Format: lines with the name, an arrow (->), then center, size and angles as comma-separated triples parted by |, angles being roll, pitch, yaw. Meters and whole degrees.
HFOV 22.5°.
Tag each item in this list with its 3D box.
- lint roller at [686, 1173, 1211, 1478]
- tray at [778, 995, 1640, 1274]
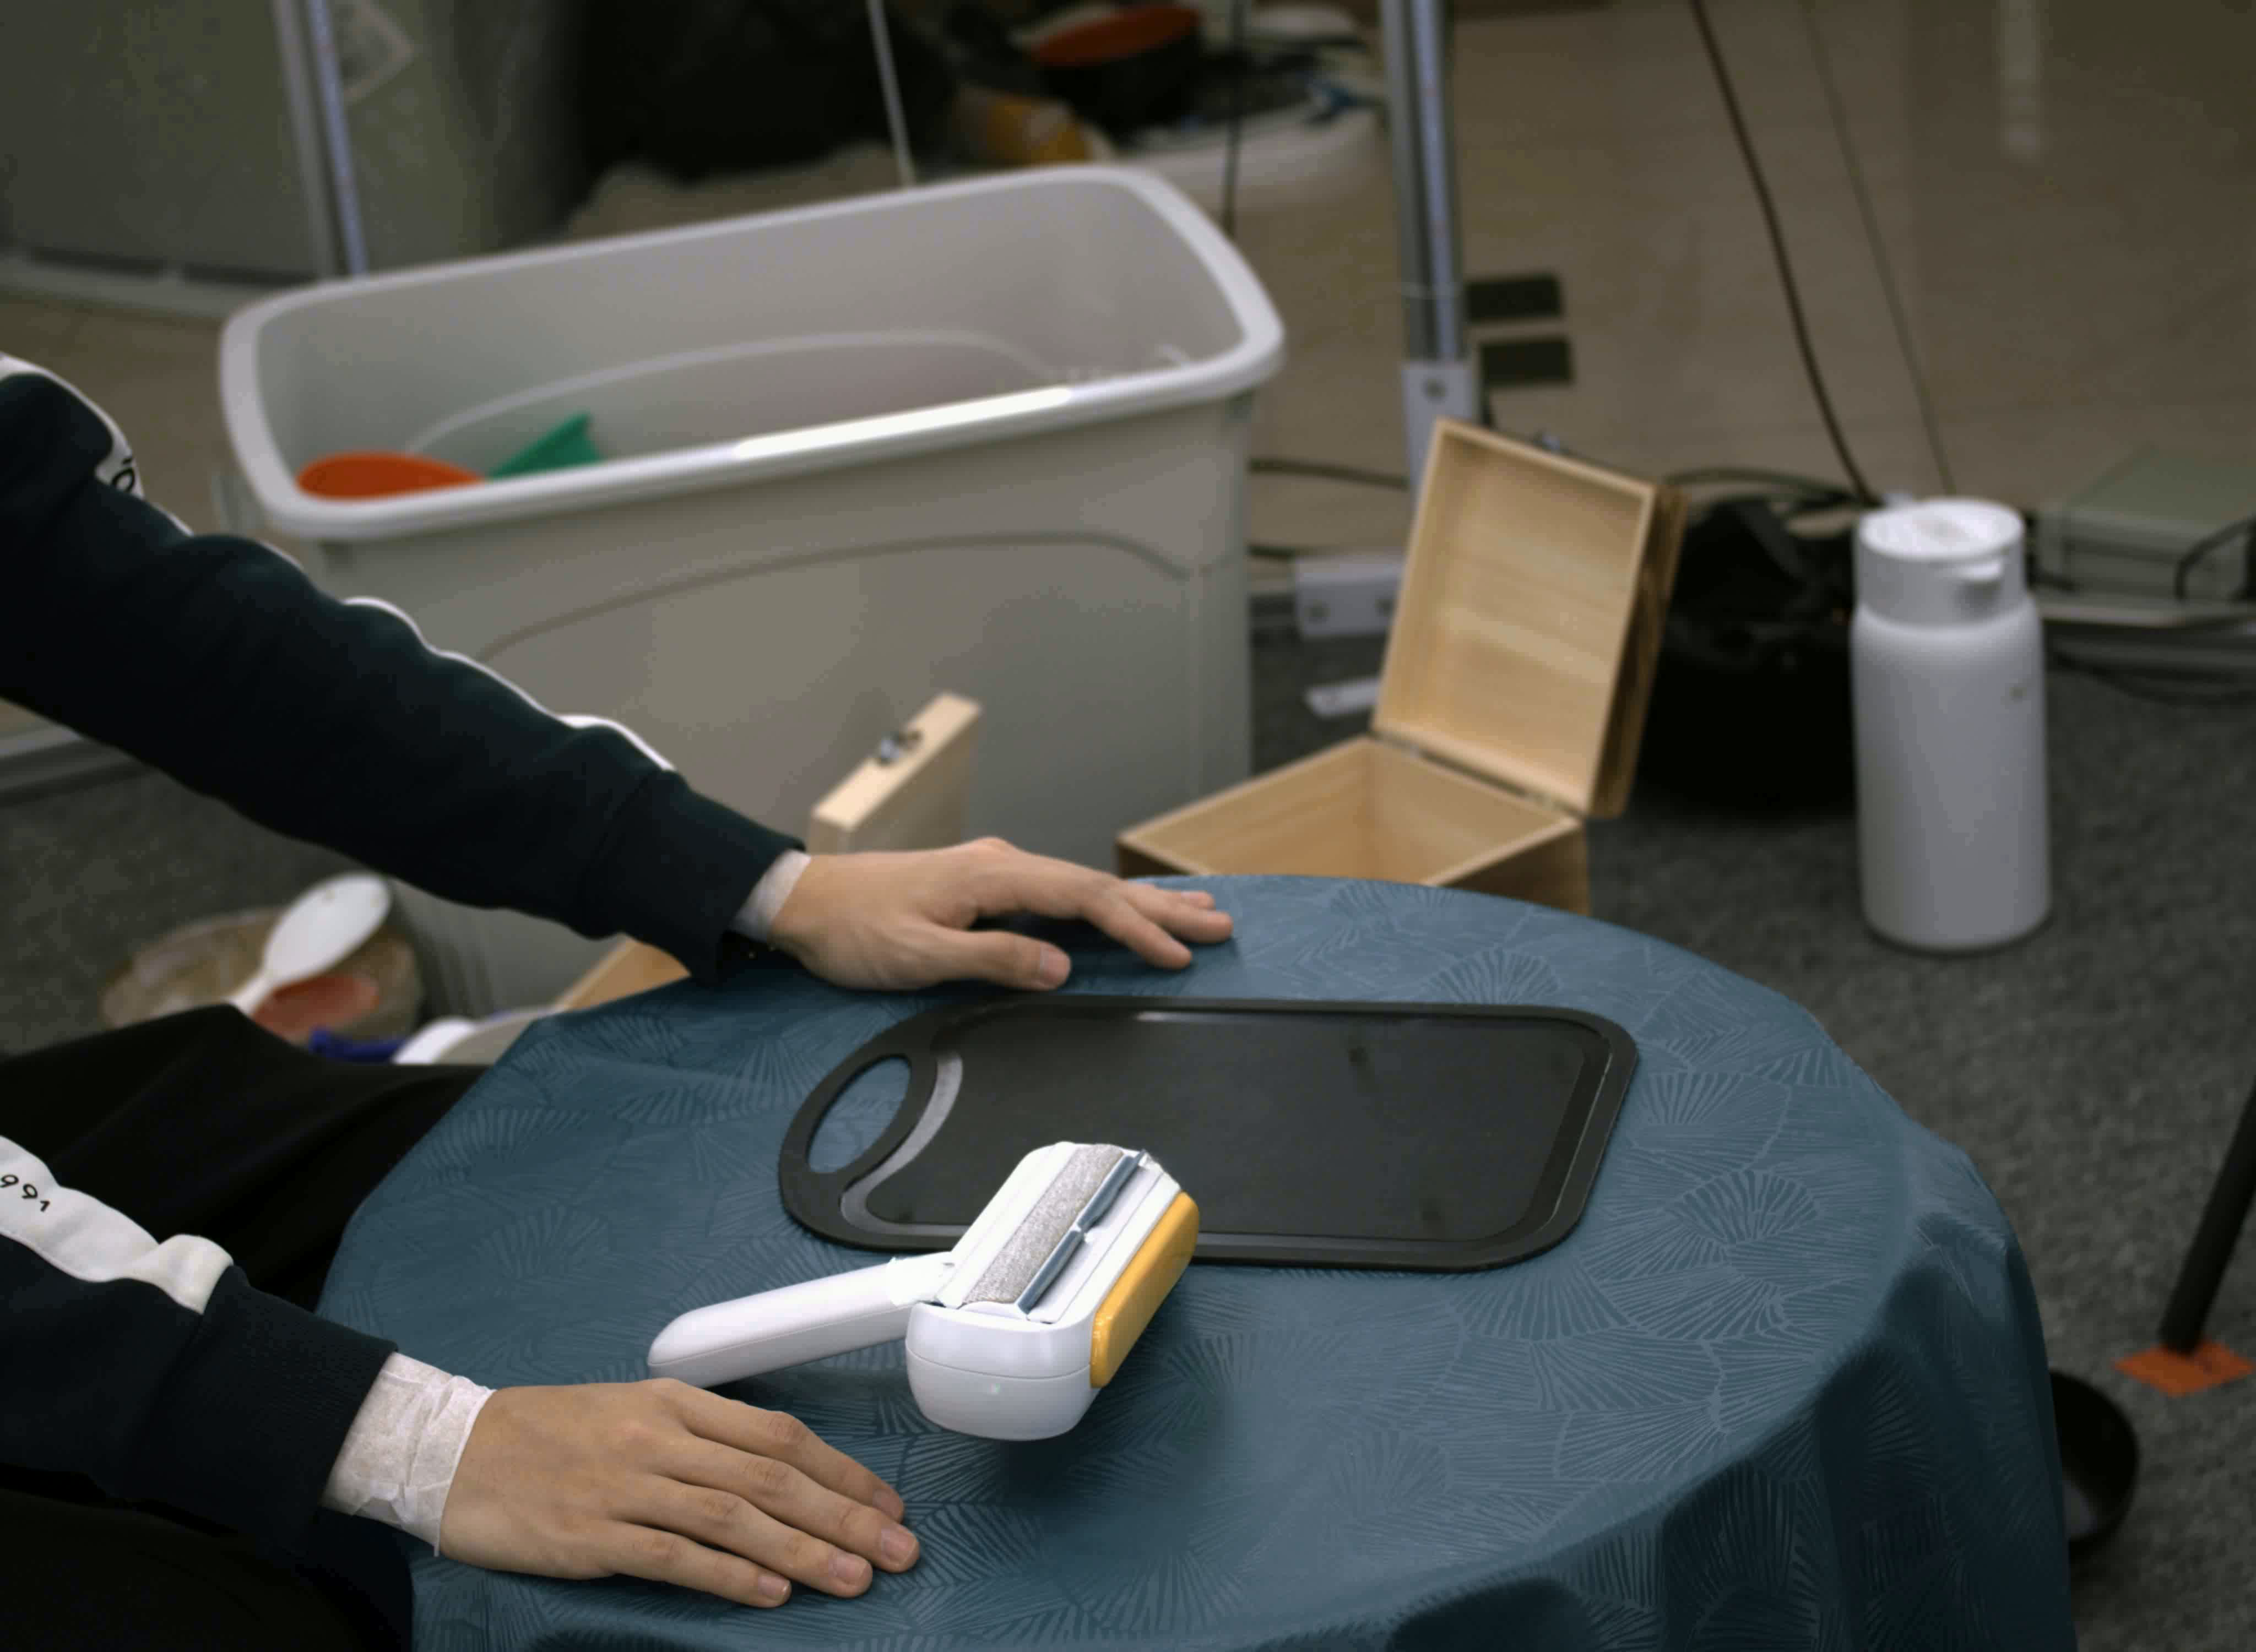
lint roller -> -0.078, 0.188, 2.022 | 0.192, 0.075, 0.191 | -12, 14, 24
tray -> 0.026, 0.114, 2.183 | 0.325, 0.010, 0.208 | 1, 26, 16
